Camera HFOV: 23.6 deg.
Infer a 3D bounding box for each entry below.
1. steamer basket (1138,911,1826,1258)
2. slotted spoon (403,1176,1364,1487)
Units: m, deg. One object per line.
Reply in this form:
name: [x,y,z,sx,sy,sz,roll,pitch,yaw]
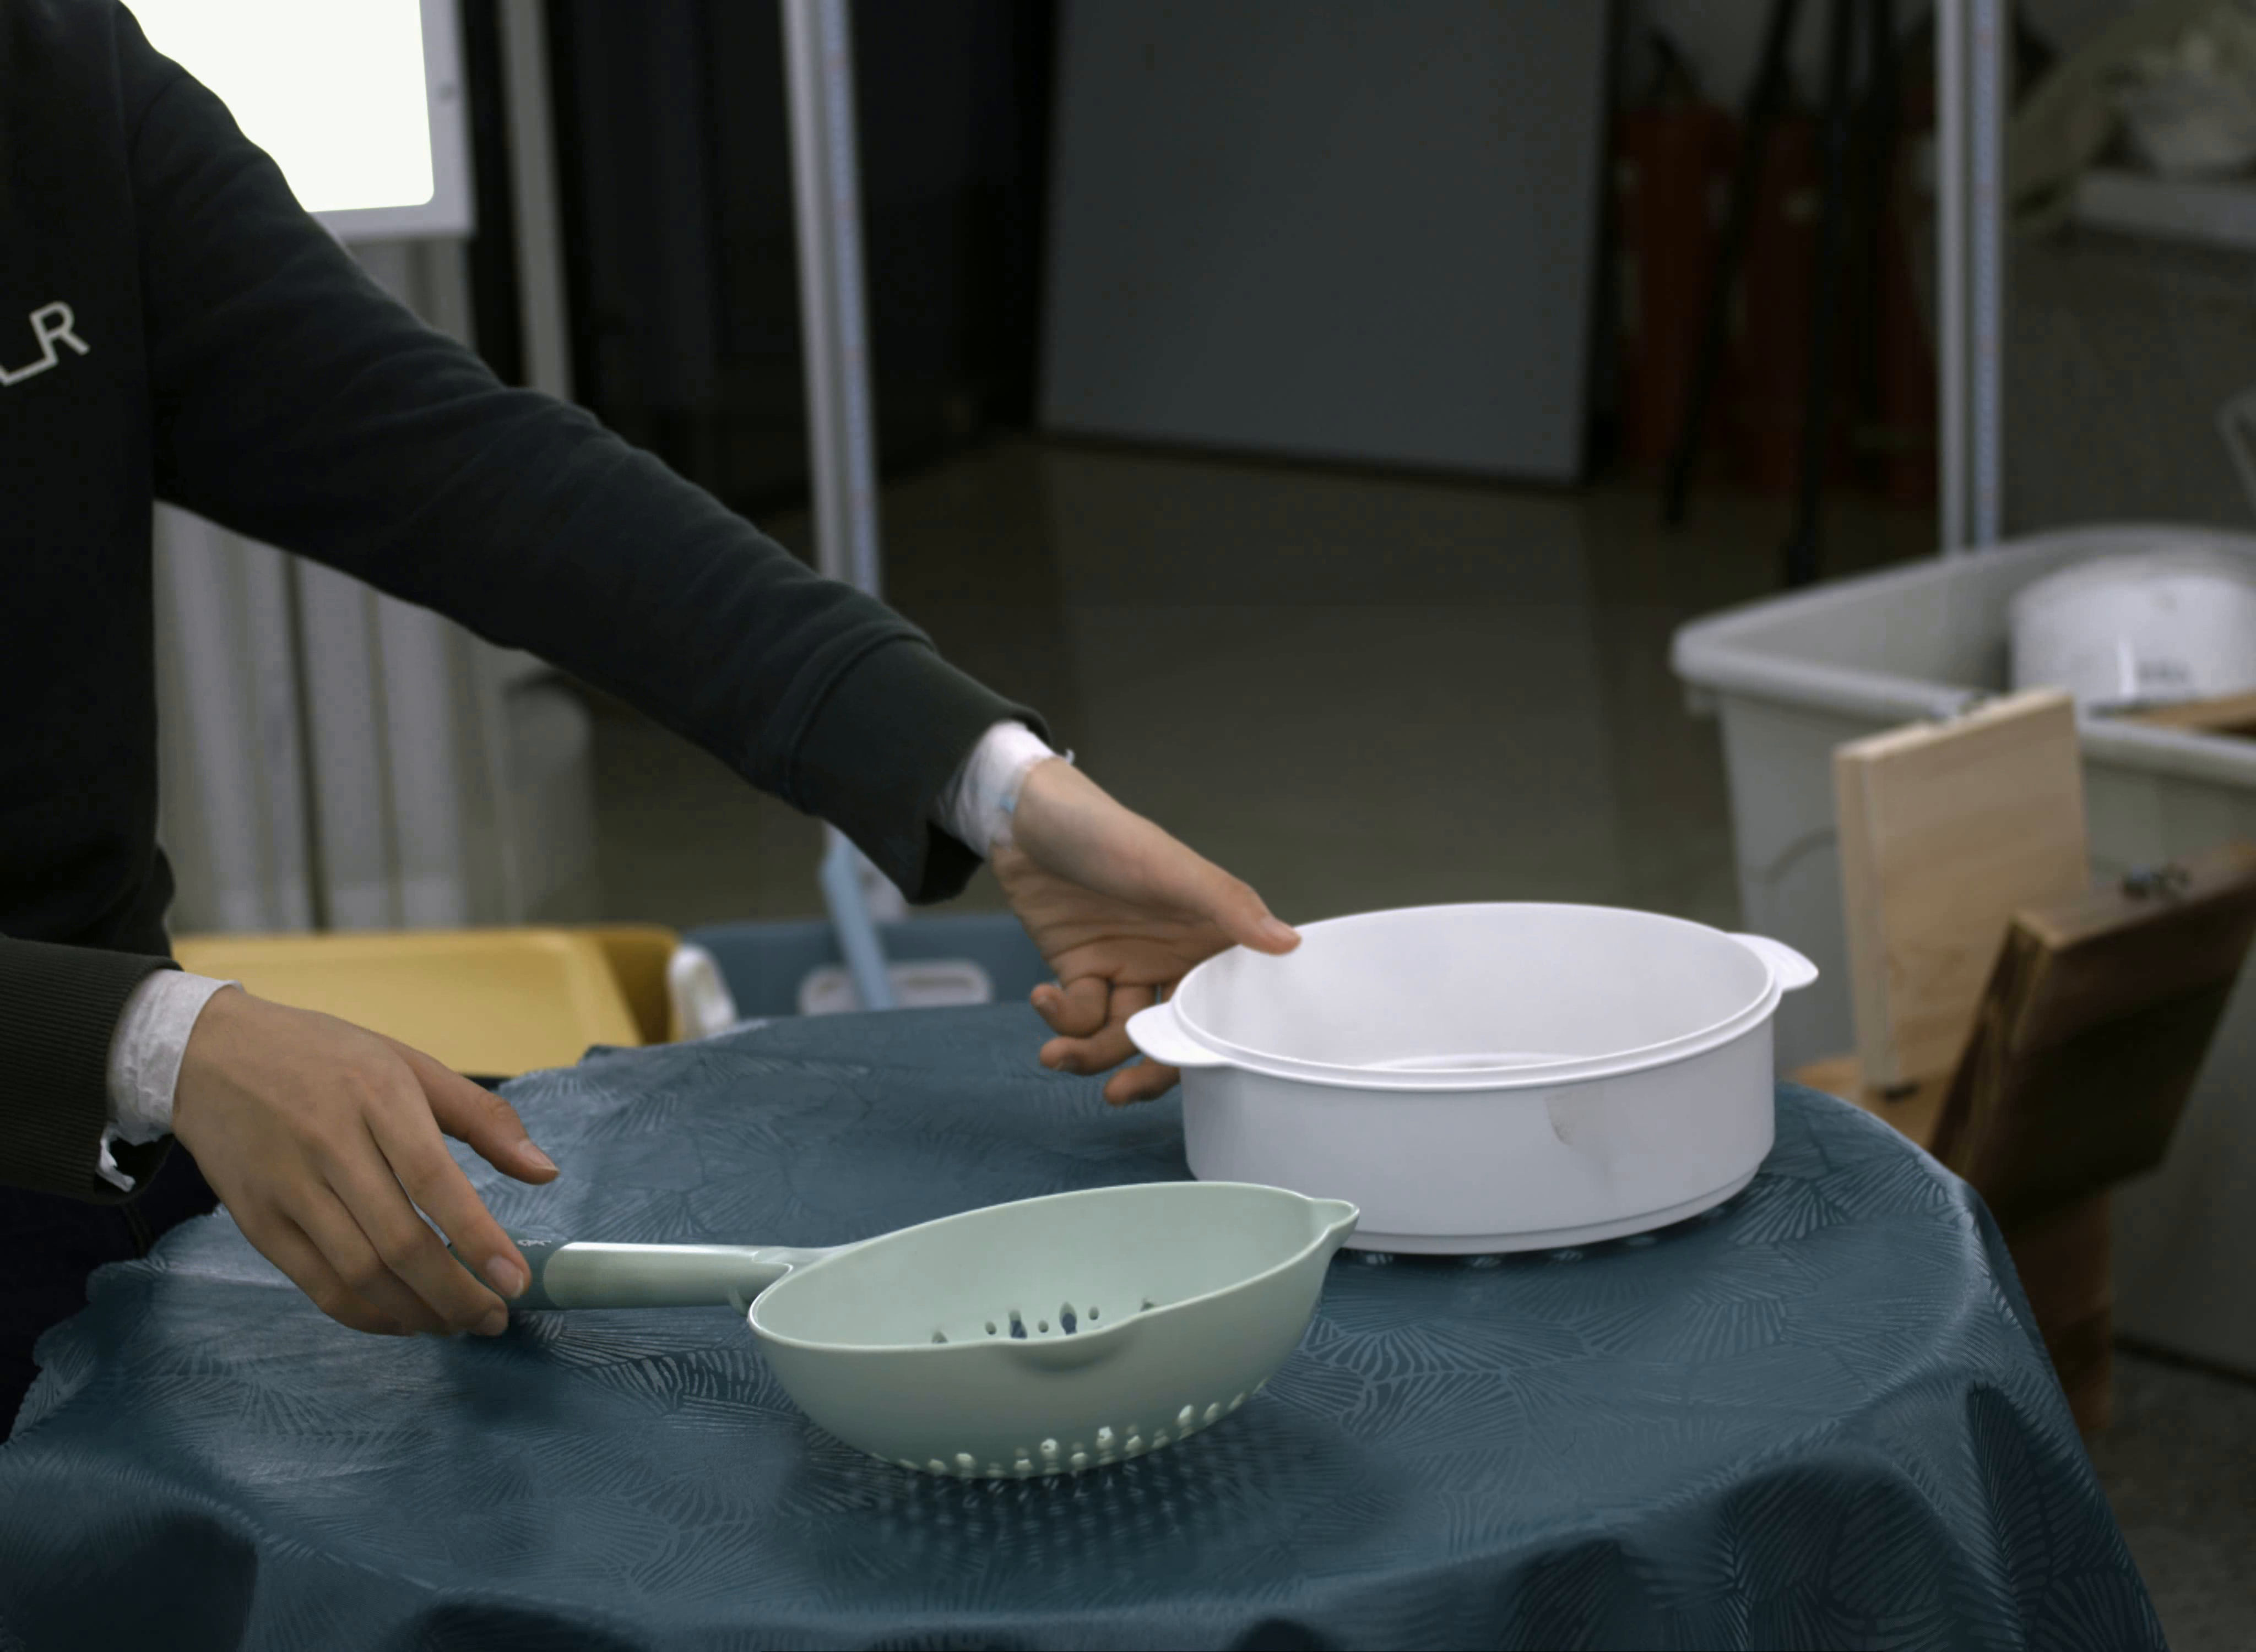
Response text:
steamer basket: [0.118,0.084,1.753,0.226,0.070,0.203,-8,13,-13]
slotted spoon: [-0.094,0.139,1.594,0.362,0.076,0.166,8,18,41]
